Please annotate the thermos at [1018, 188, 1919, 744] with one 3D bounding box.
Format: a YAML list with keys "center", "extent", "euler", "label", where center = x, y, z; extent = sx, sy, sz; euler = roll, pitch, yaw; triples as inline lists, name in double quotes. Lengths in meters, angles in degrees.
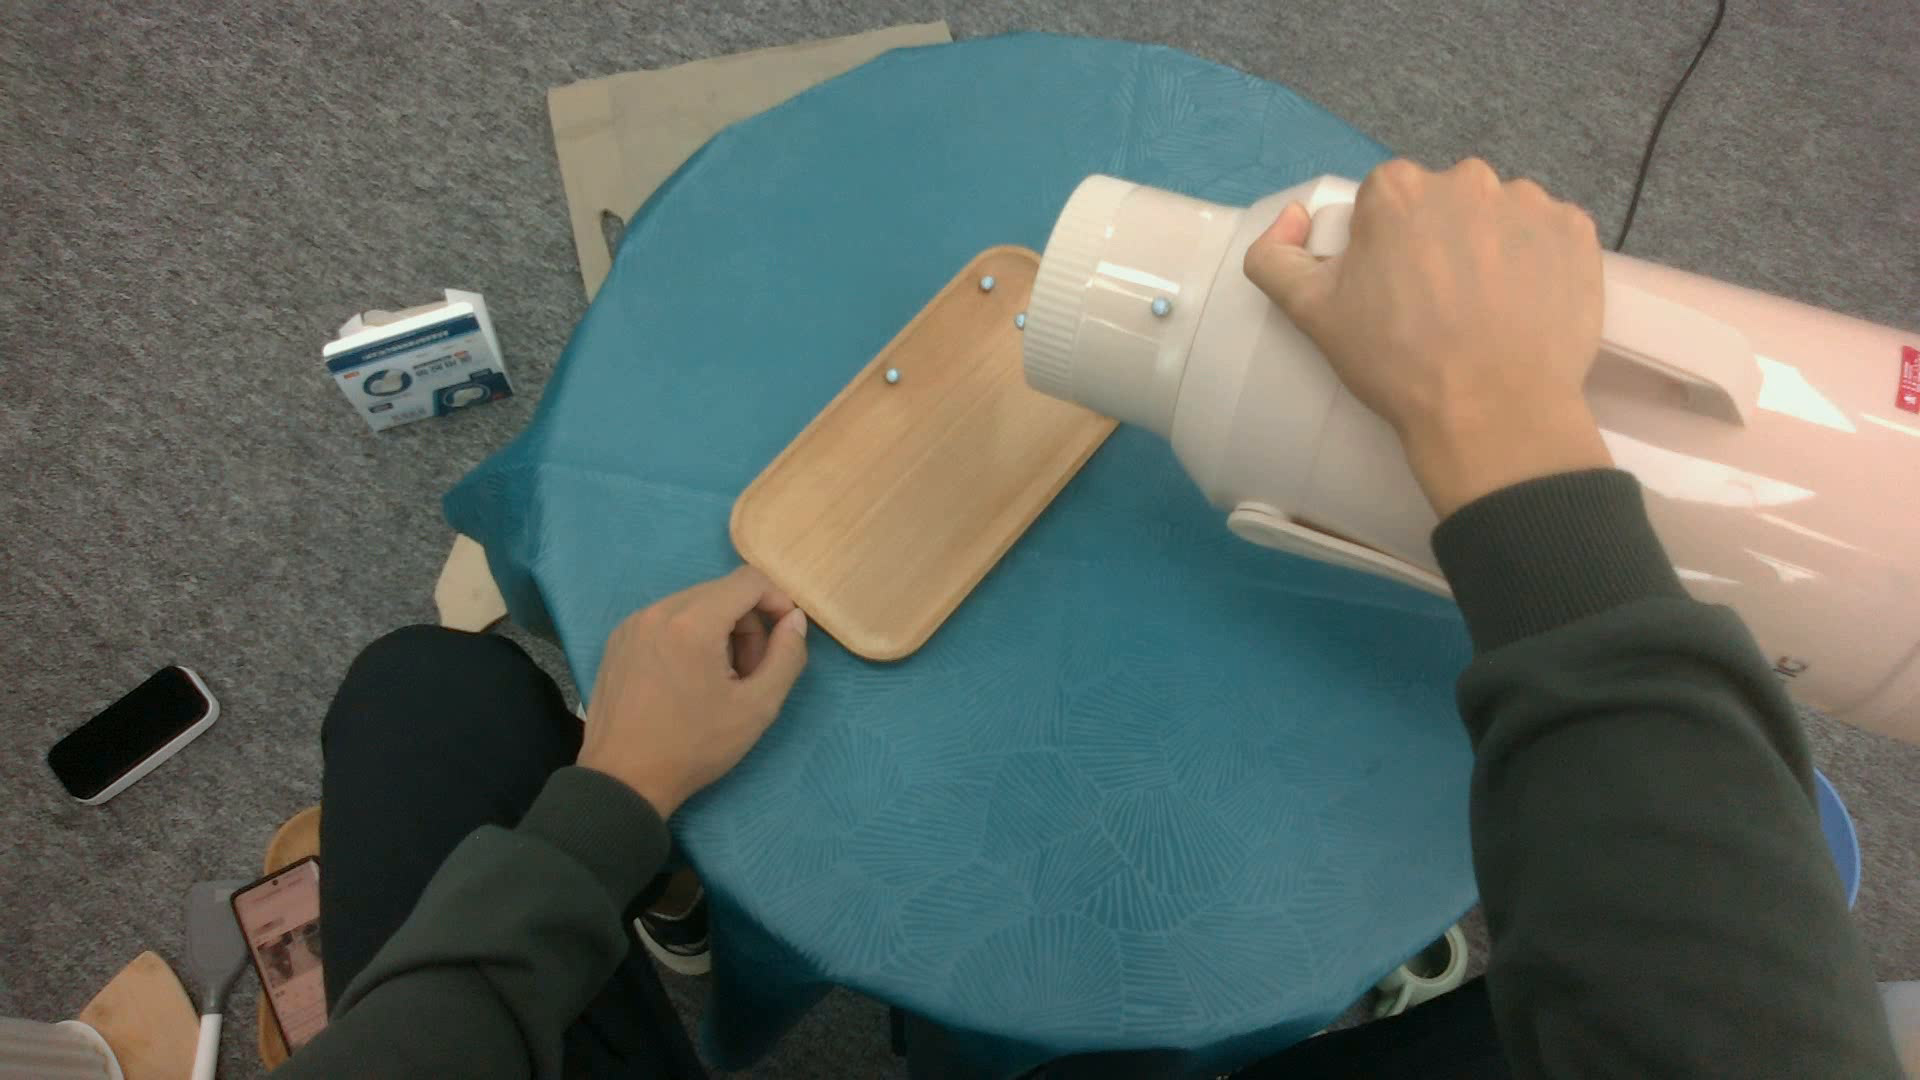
- center: [0.228, -0.057, 0.606]
  extent: [0.406, 0.206, 0.176]
  euler: [21, 77, 14]
  label: "thermos"

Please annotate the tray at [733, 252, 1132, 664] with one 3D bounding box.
- center: [-0.006, -0.051, 0.773]
  extent: [0.130, 0.023, 0.251]
  euler: [39, 72, 11]
  label: "tray"
